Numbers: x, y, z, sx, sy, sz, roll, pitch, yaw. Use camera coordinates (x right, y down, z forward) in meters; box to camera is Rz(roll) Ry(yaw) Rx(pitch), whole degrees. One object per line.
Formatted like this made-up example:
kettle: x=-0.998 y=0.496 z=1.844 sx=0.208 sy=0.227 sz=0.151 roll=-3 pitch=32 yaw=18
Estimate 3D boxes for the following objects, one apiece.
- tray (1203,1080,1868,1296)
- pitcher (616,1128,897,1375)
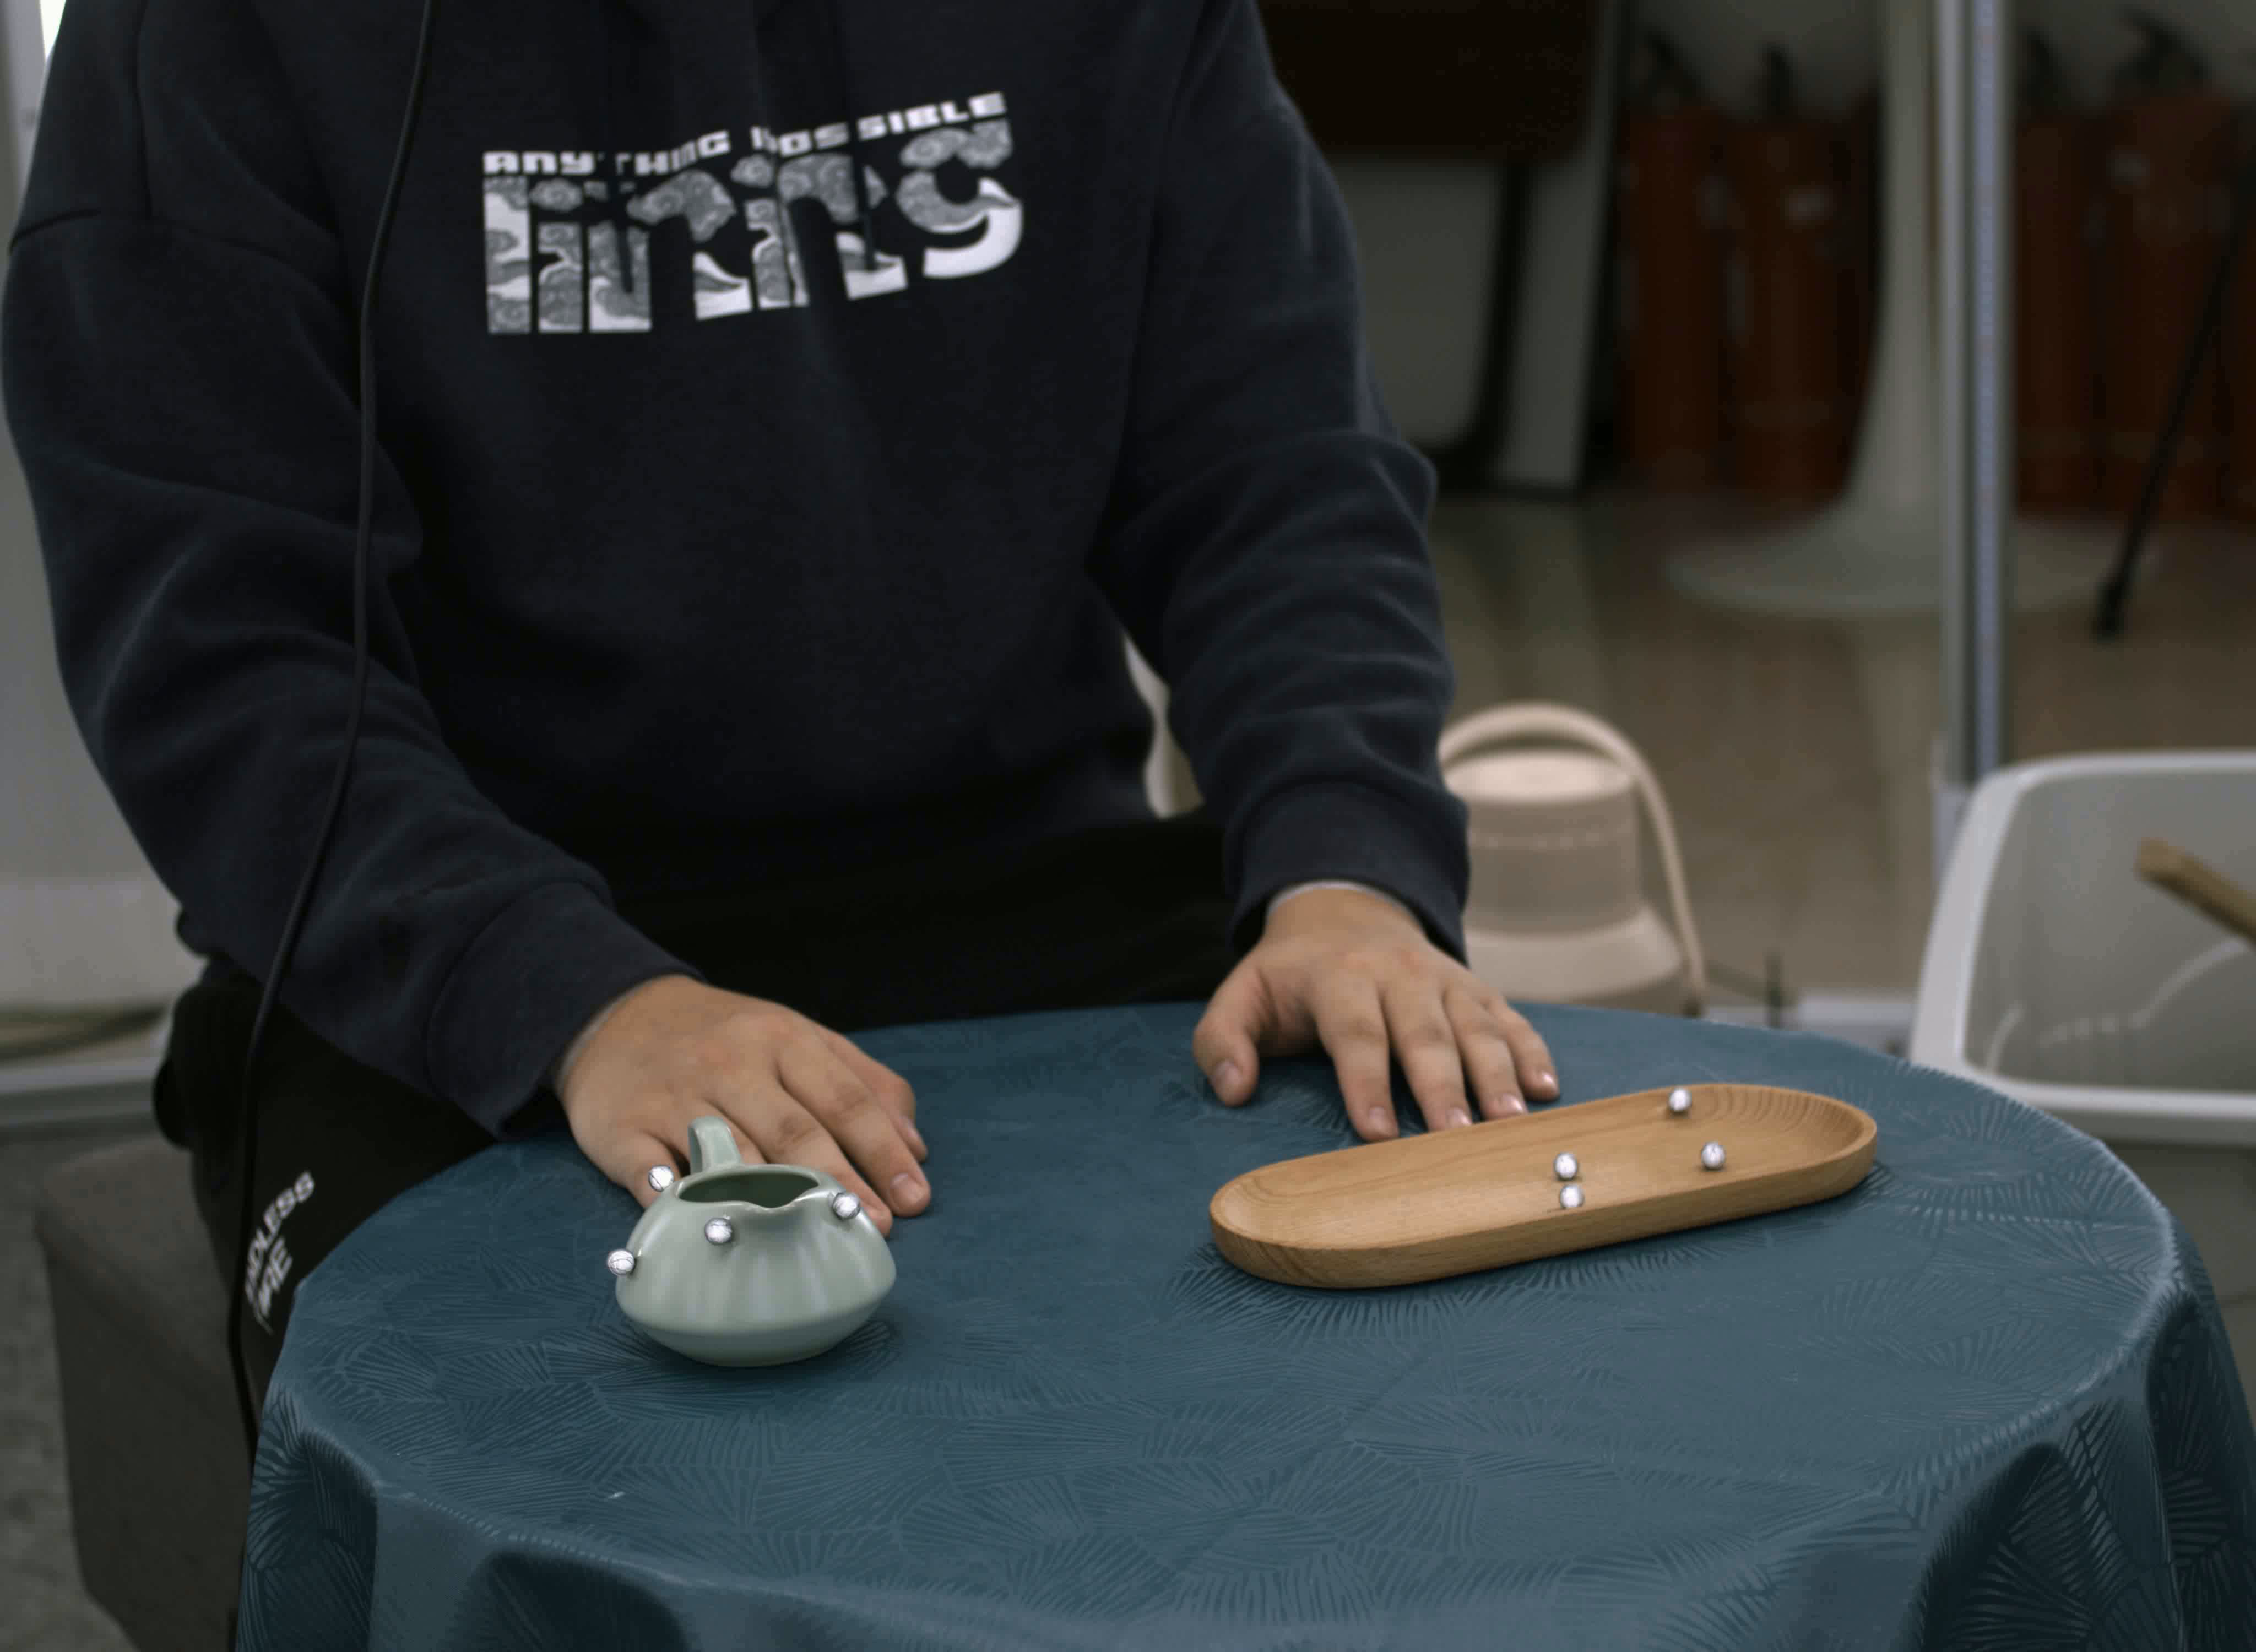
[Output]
tray: x=0.132 y=0.116 z=1.727 sx=0.226 sy=0.020 sz=0.102 roll=-12 pitch=14 yaw=-22
pitcher: x=-0.117 y=0.131 z=1.653 sx=0.084 sy=0.061 sz=0.109 roll=-7 pitch=12 yaw=-17
